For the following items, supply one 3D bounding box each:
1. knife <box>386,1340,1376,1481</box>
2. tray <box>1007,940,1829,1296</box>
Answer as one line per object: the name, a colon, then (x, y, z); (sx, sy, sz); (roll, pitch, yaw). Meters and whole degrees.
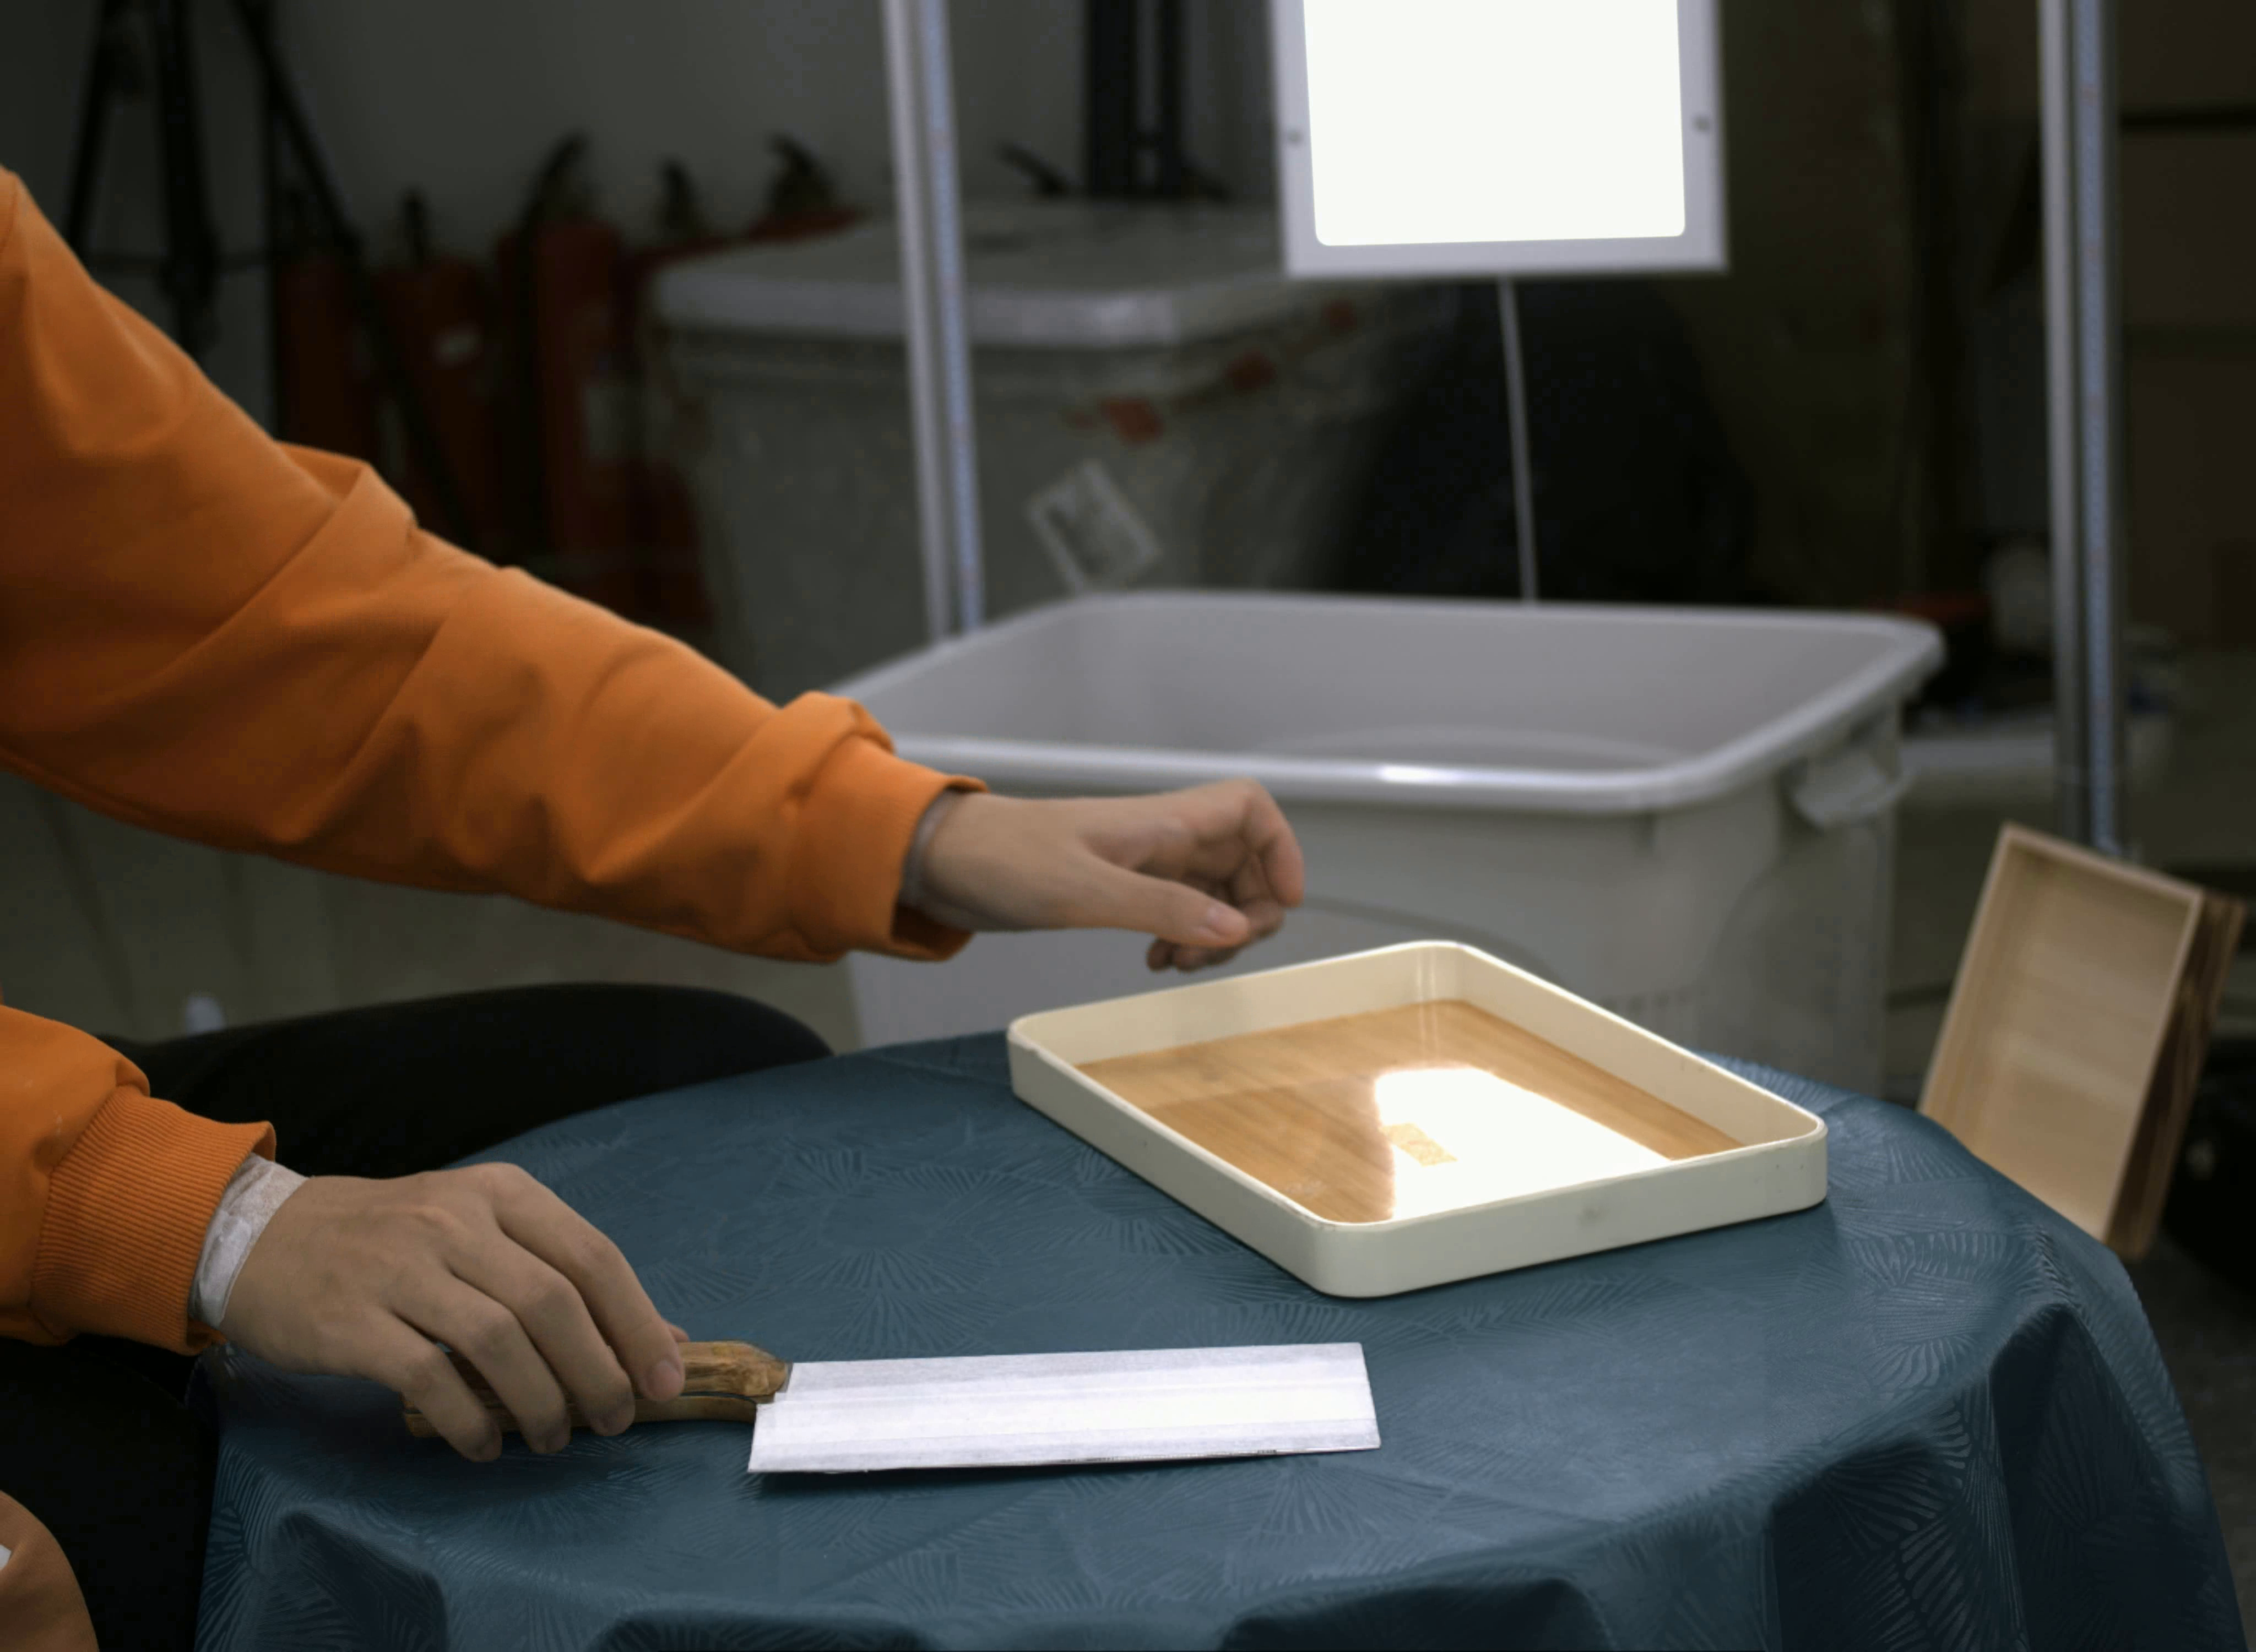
knife: (-0.077, 0.179, 1.682); (0.305, 0.021, 0.092); (-2, 15, 2)
tray: (0.096, 0.098, 1.921); (0.188, 0.027, 0.304); (-10, 15, -20)
